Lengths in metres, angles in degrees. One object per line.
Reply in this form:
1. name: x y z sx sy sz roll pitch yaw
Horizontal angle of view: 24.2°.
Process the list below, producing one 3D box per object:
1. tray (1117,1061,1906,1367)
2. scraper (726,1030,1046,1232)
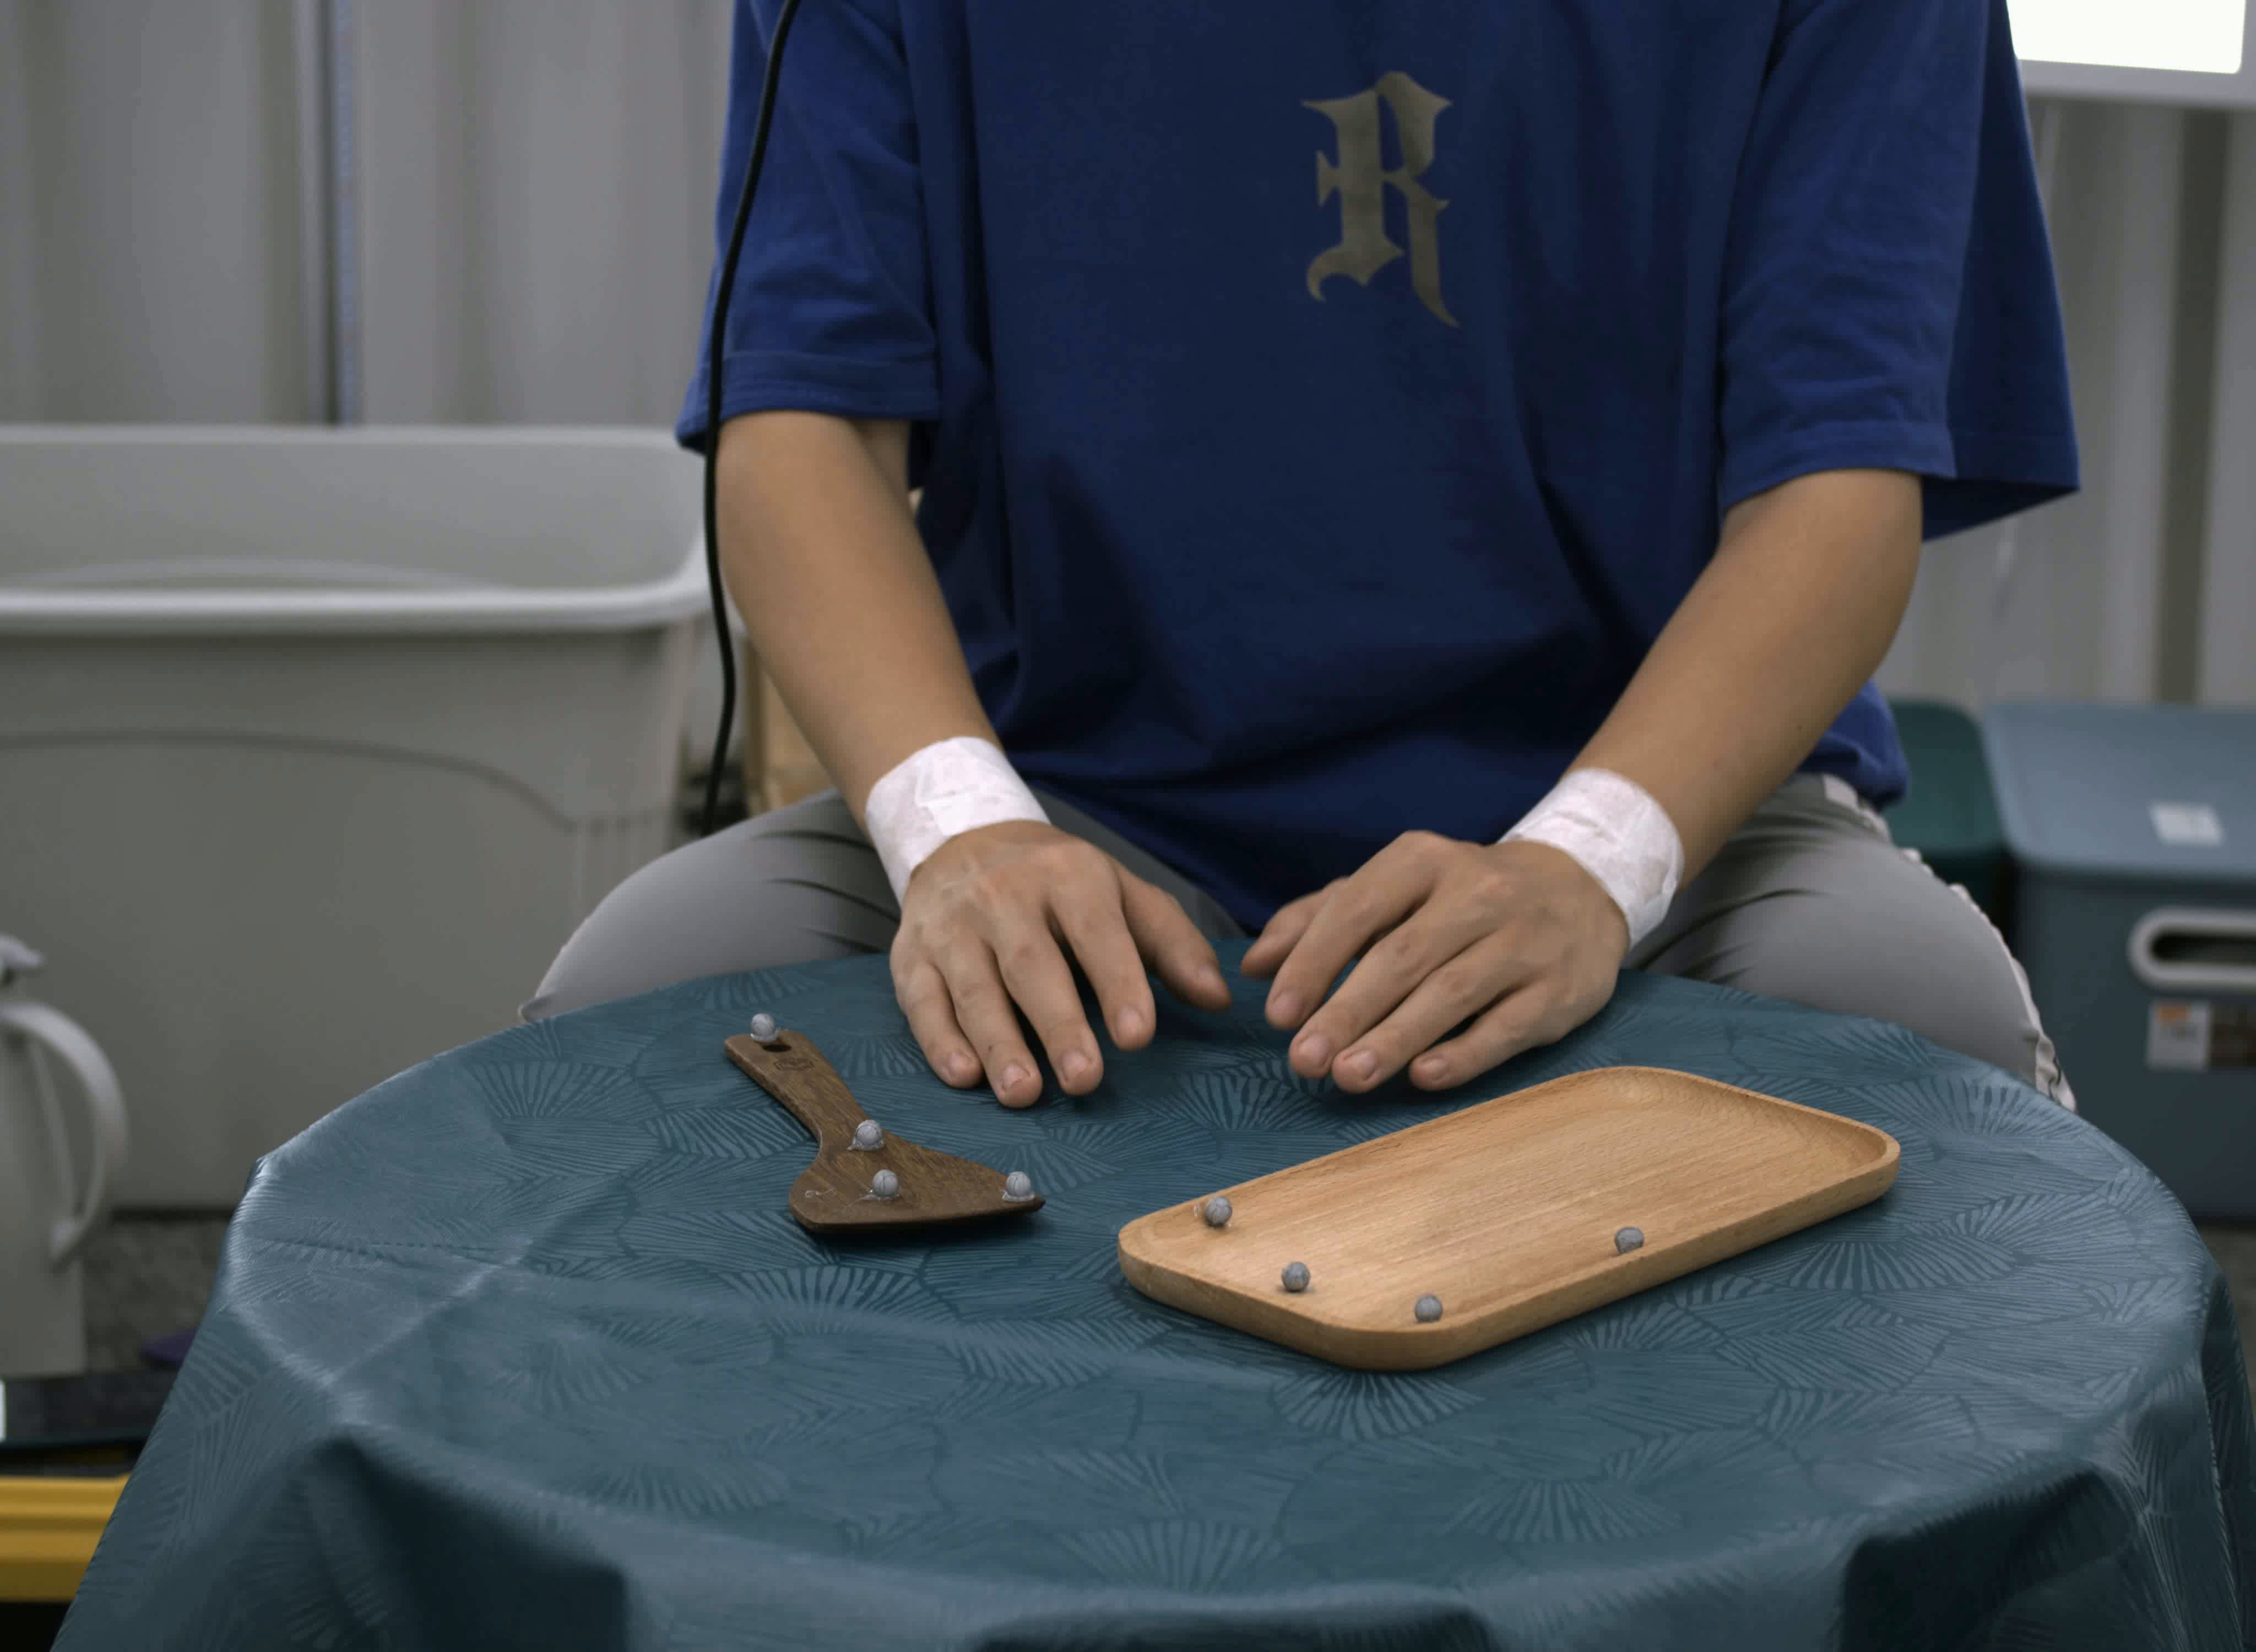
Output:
1. tray: 0.118 0.115 1.586 0.252 0.023 0.129 -13 23 -43
2. scraper: -0.090 0.095 1.664 0.076 0.011 0.209 -4 15 -18
